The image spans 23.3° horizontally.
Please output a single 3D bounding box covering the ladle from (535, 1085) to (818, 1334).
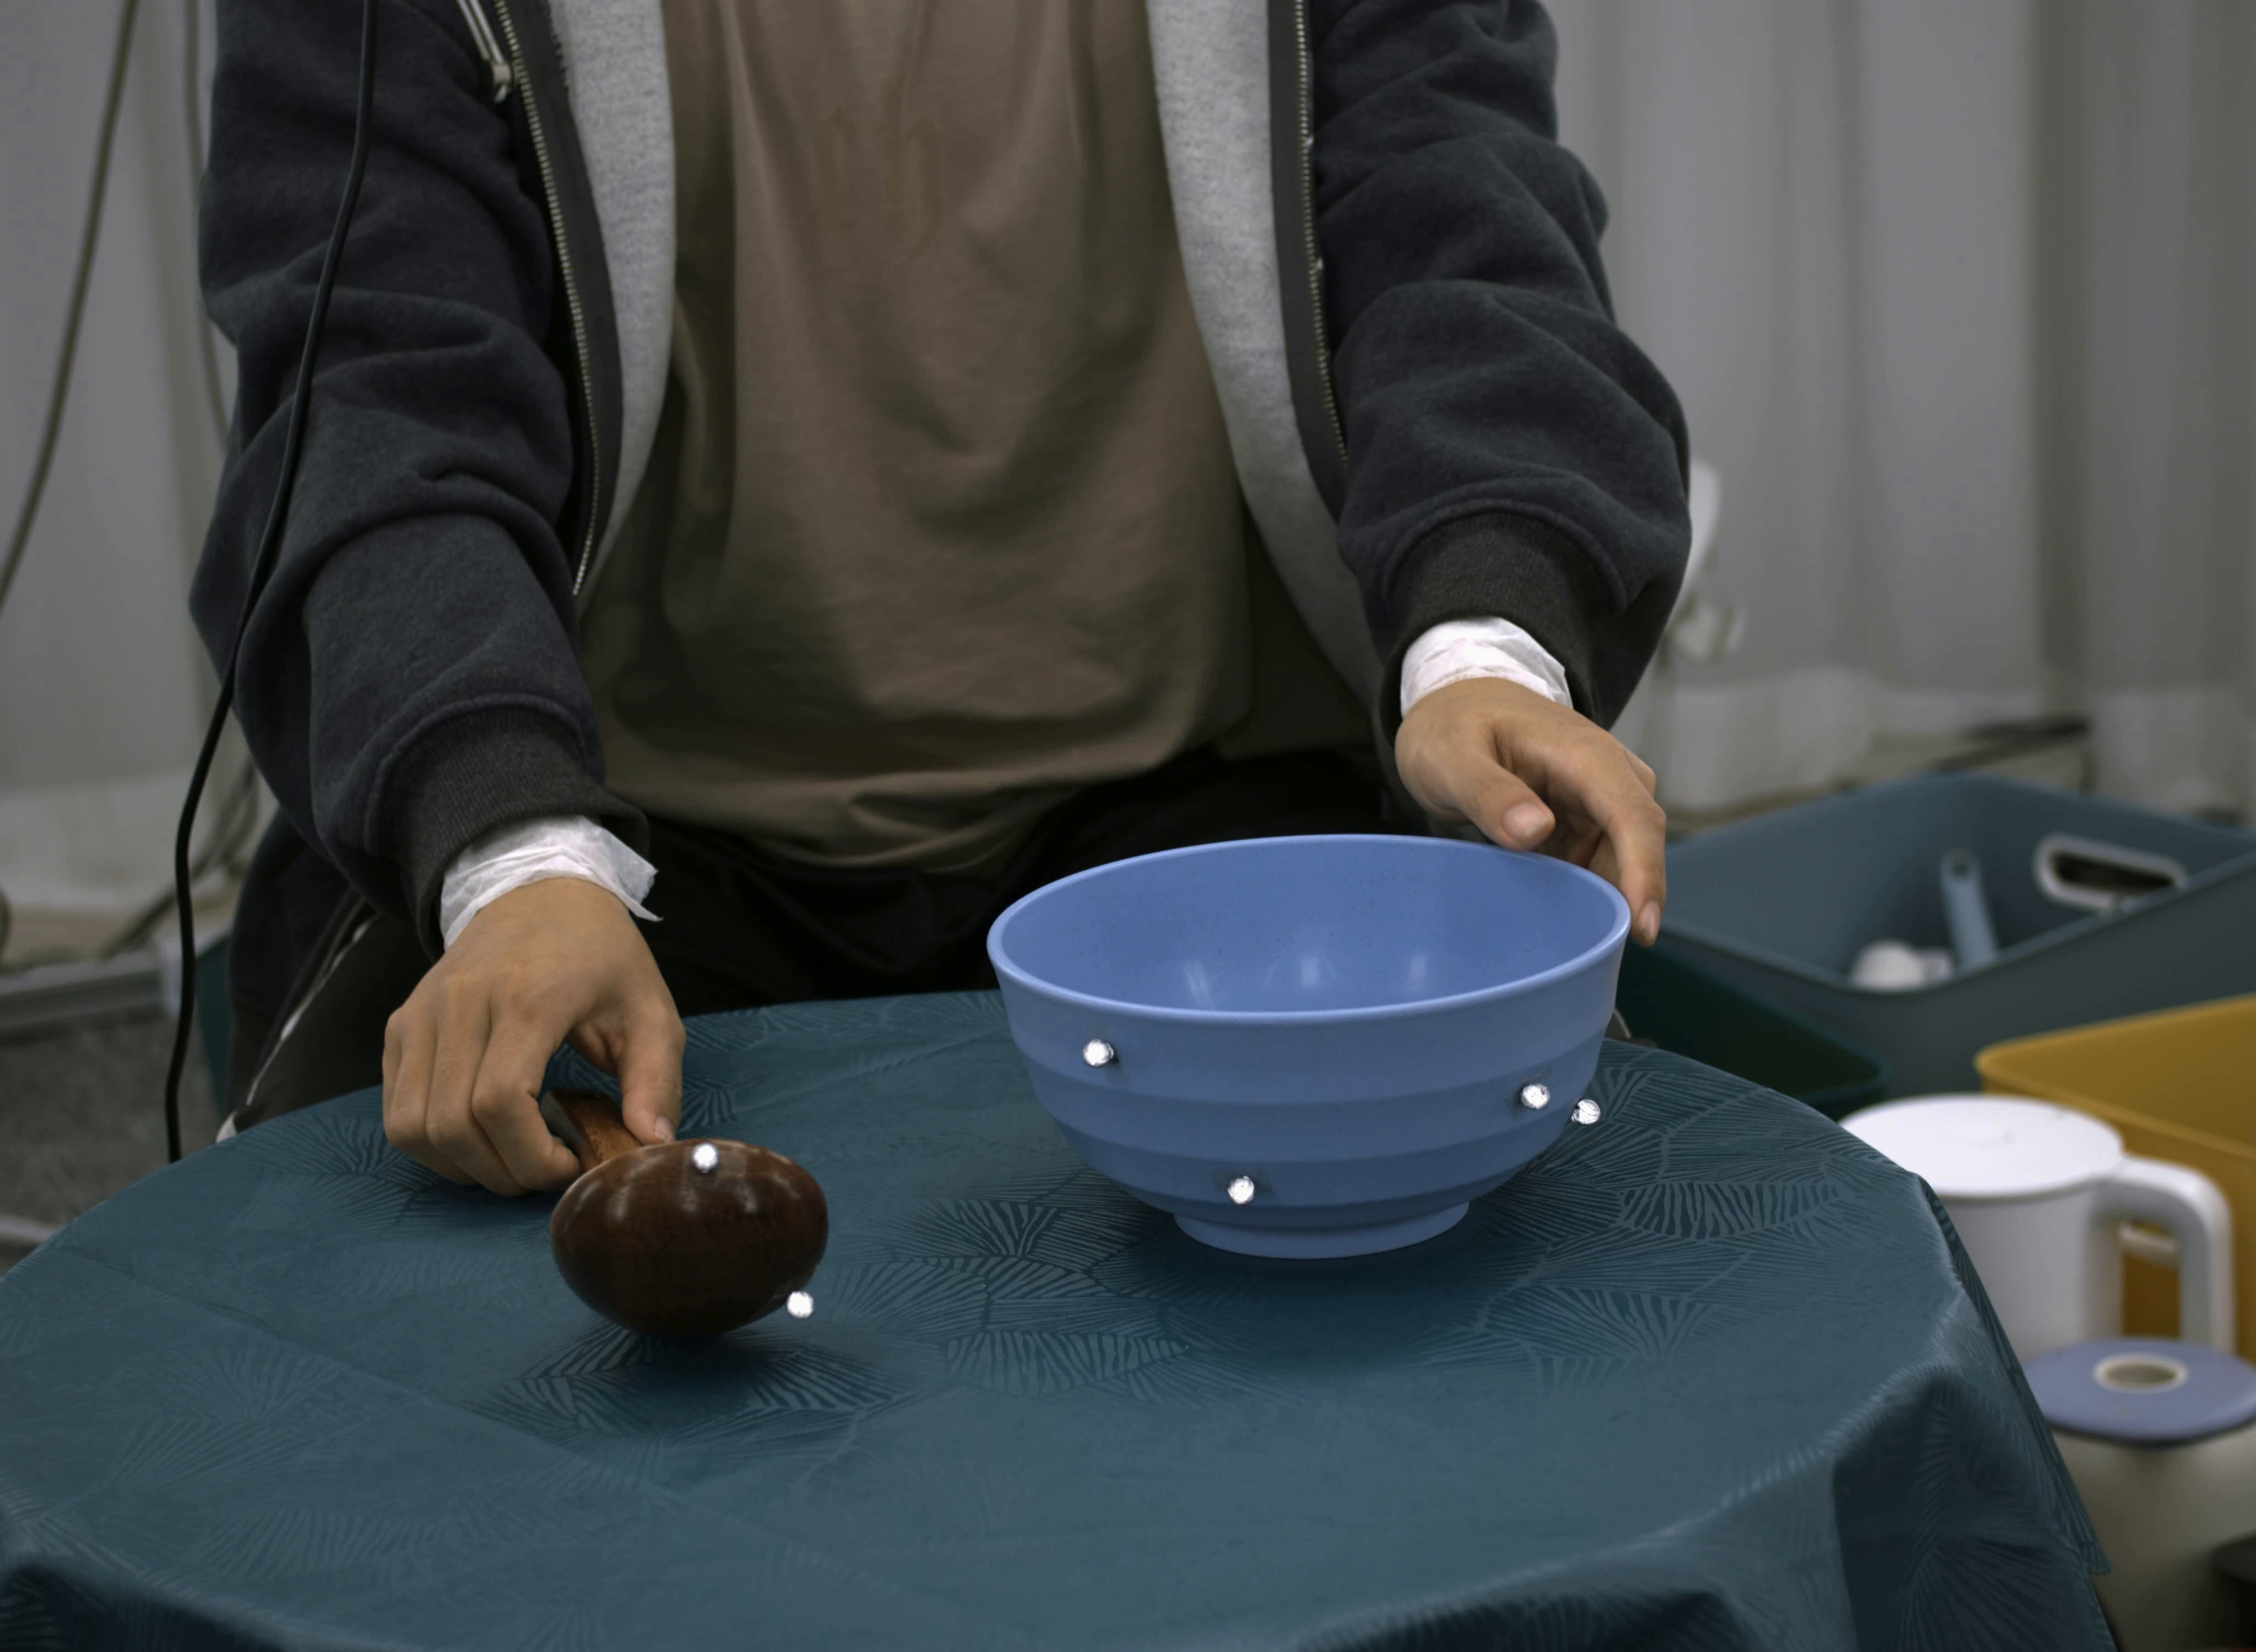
[{"bbox_3d":[-0.150,0.092,1.677,0.081,0.076,0.276,6,13,-12],"label":"ladle"}]

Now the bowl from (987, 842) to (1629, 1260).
[{"bbox_3d":[0.057,0.074,1.677,0.196,0.095,0.198,-3,14,1],"label":"bowl"}]
